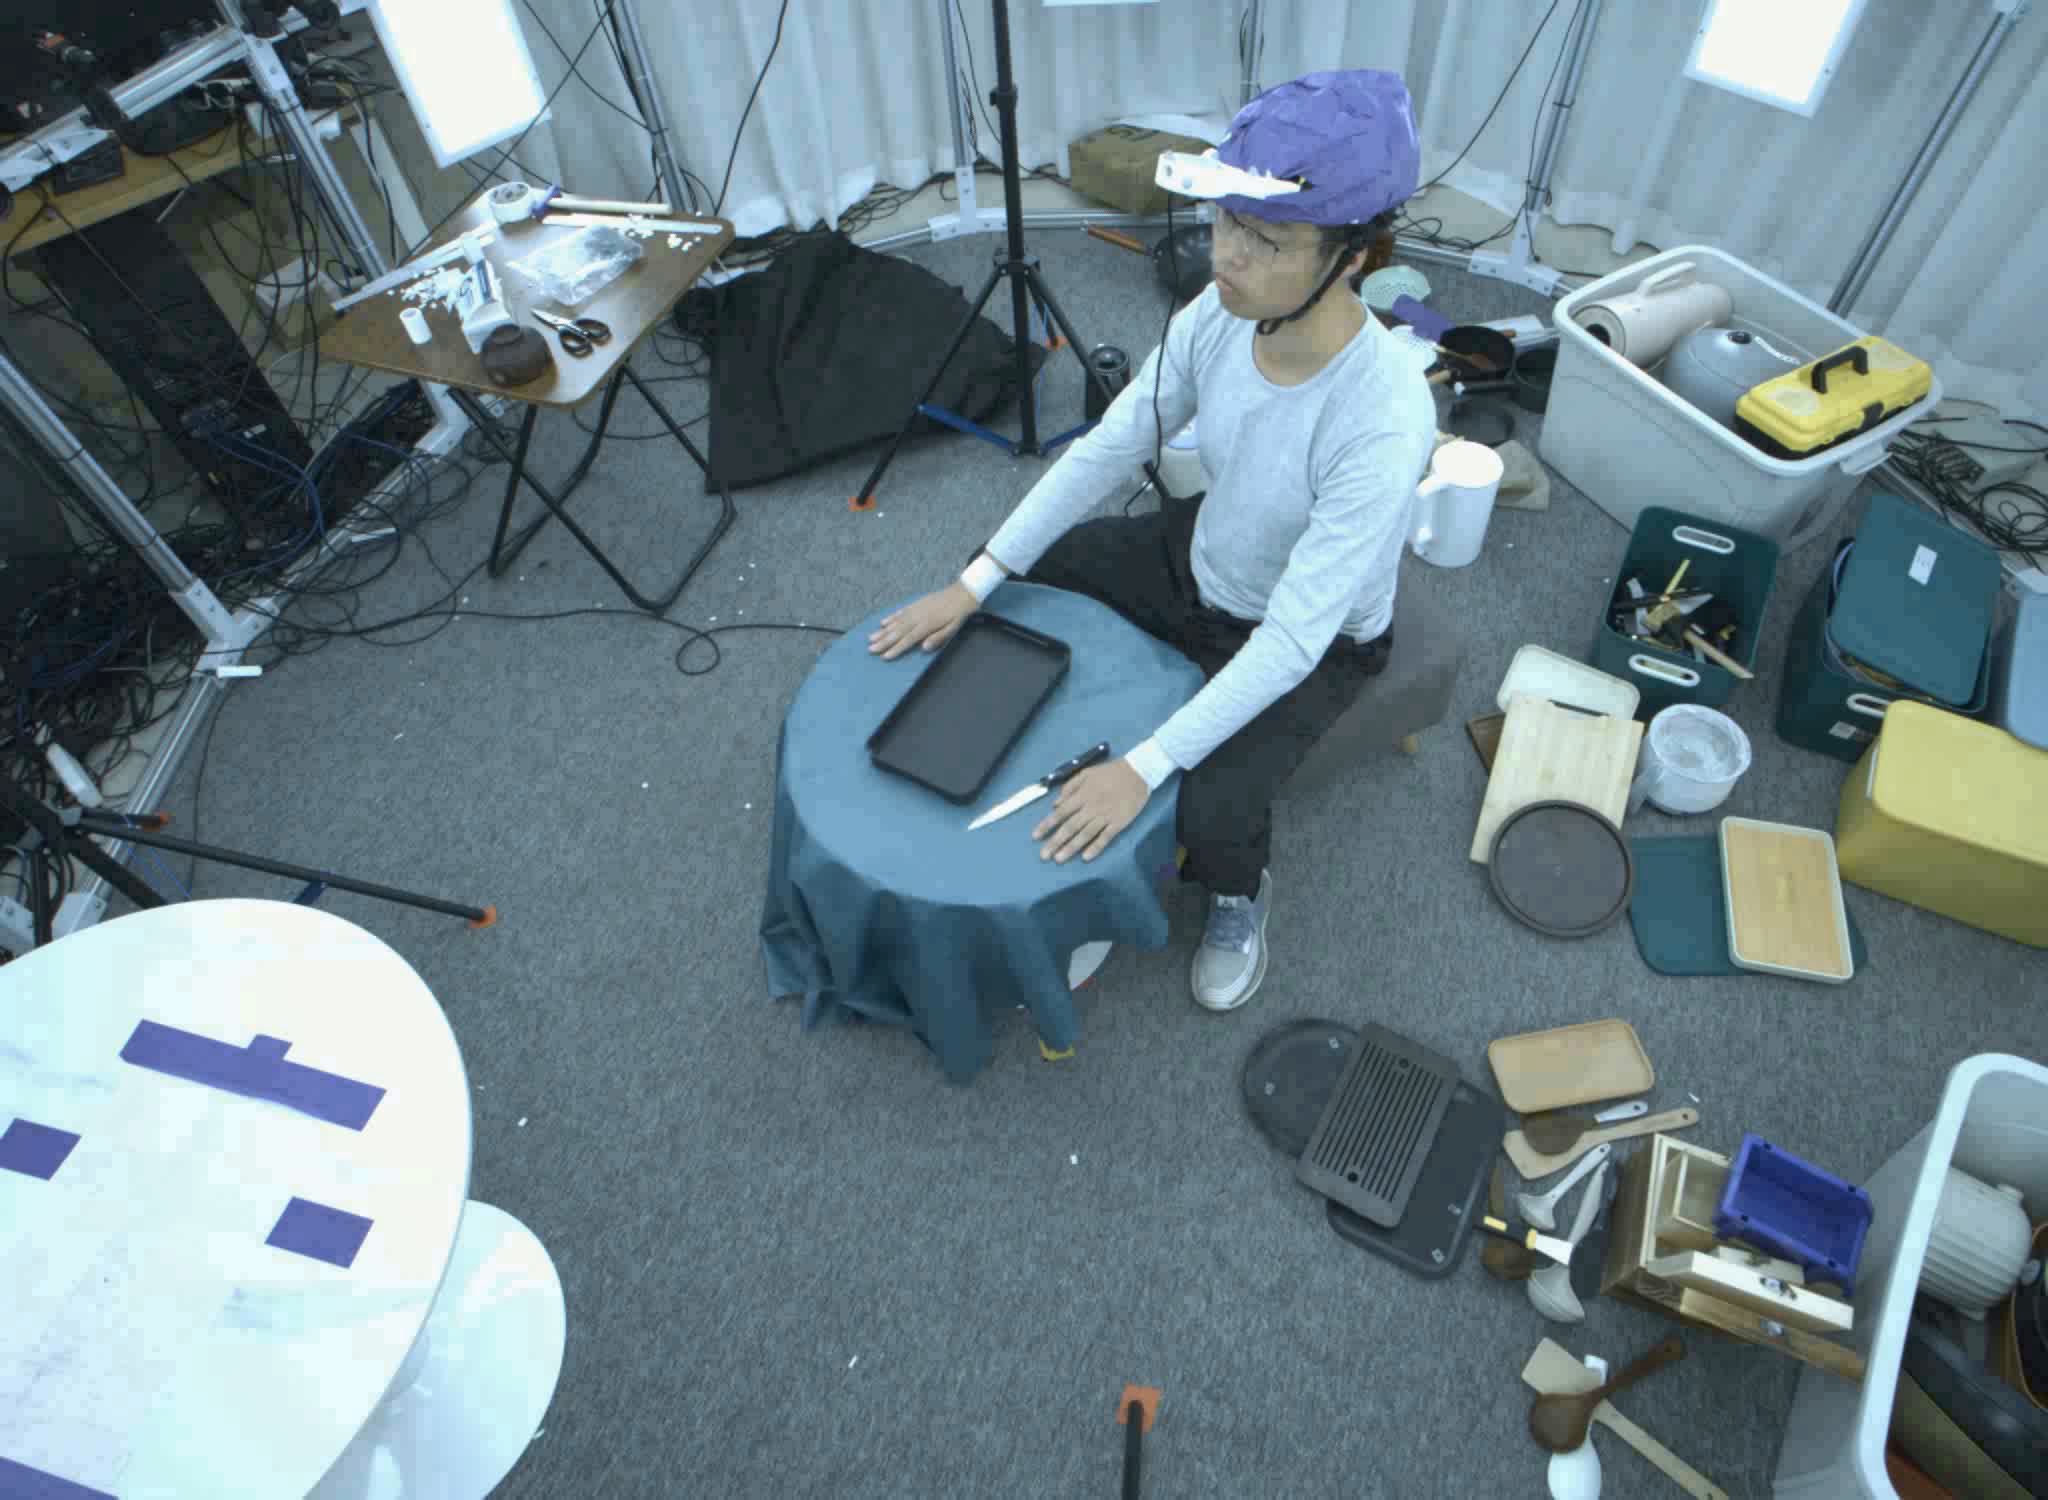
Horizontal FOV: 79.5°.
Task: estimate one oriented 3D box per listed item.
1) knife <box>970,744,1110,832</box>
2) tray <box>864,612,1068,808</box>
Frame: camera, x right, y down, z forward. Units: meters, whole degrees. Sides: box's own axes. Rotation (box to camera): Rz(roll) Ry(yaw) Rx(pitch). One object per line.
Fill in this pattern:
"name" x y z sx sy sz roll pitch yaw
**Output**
"knife" 0.021 0.054 1.749 0.240 0.016 0.024 -31 55 -16
"tray" -0.081 -0.066 1.822 0.182 0.037 0.319 23 58 17
